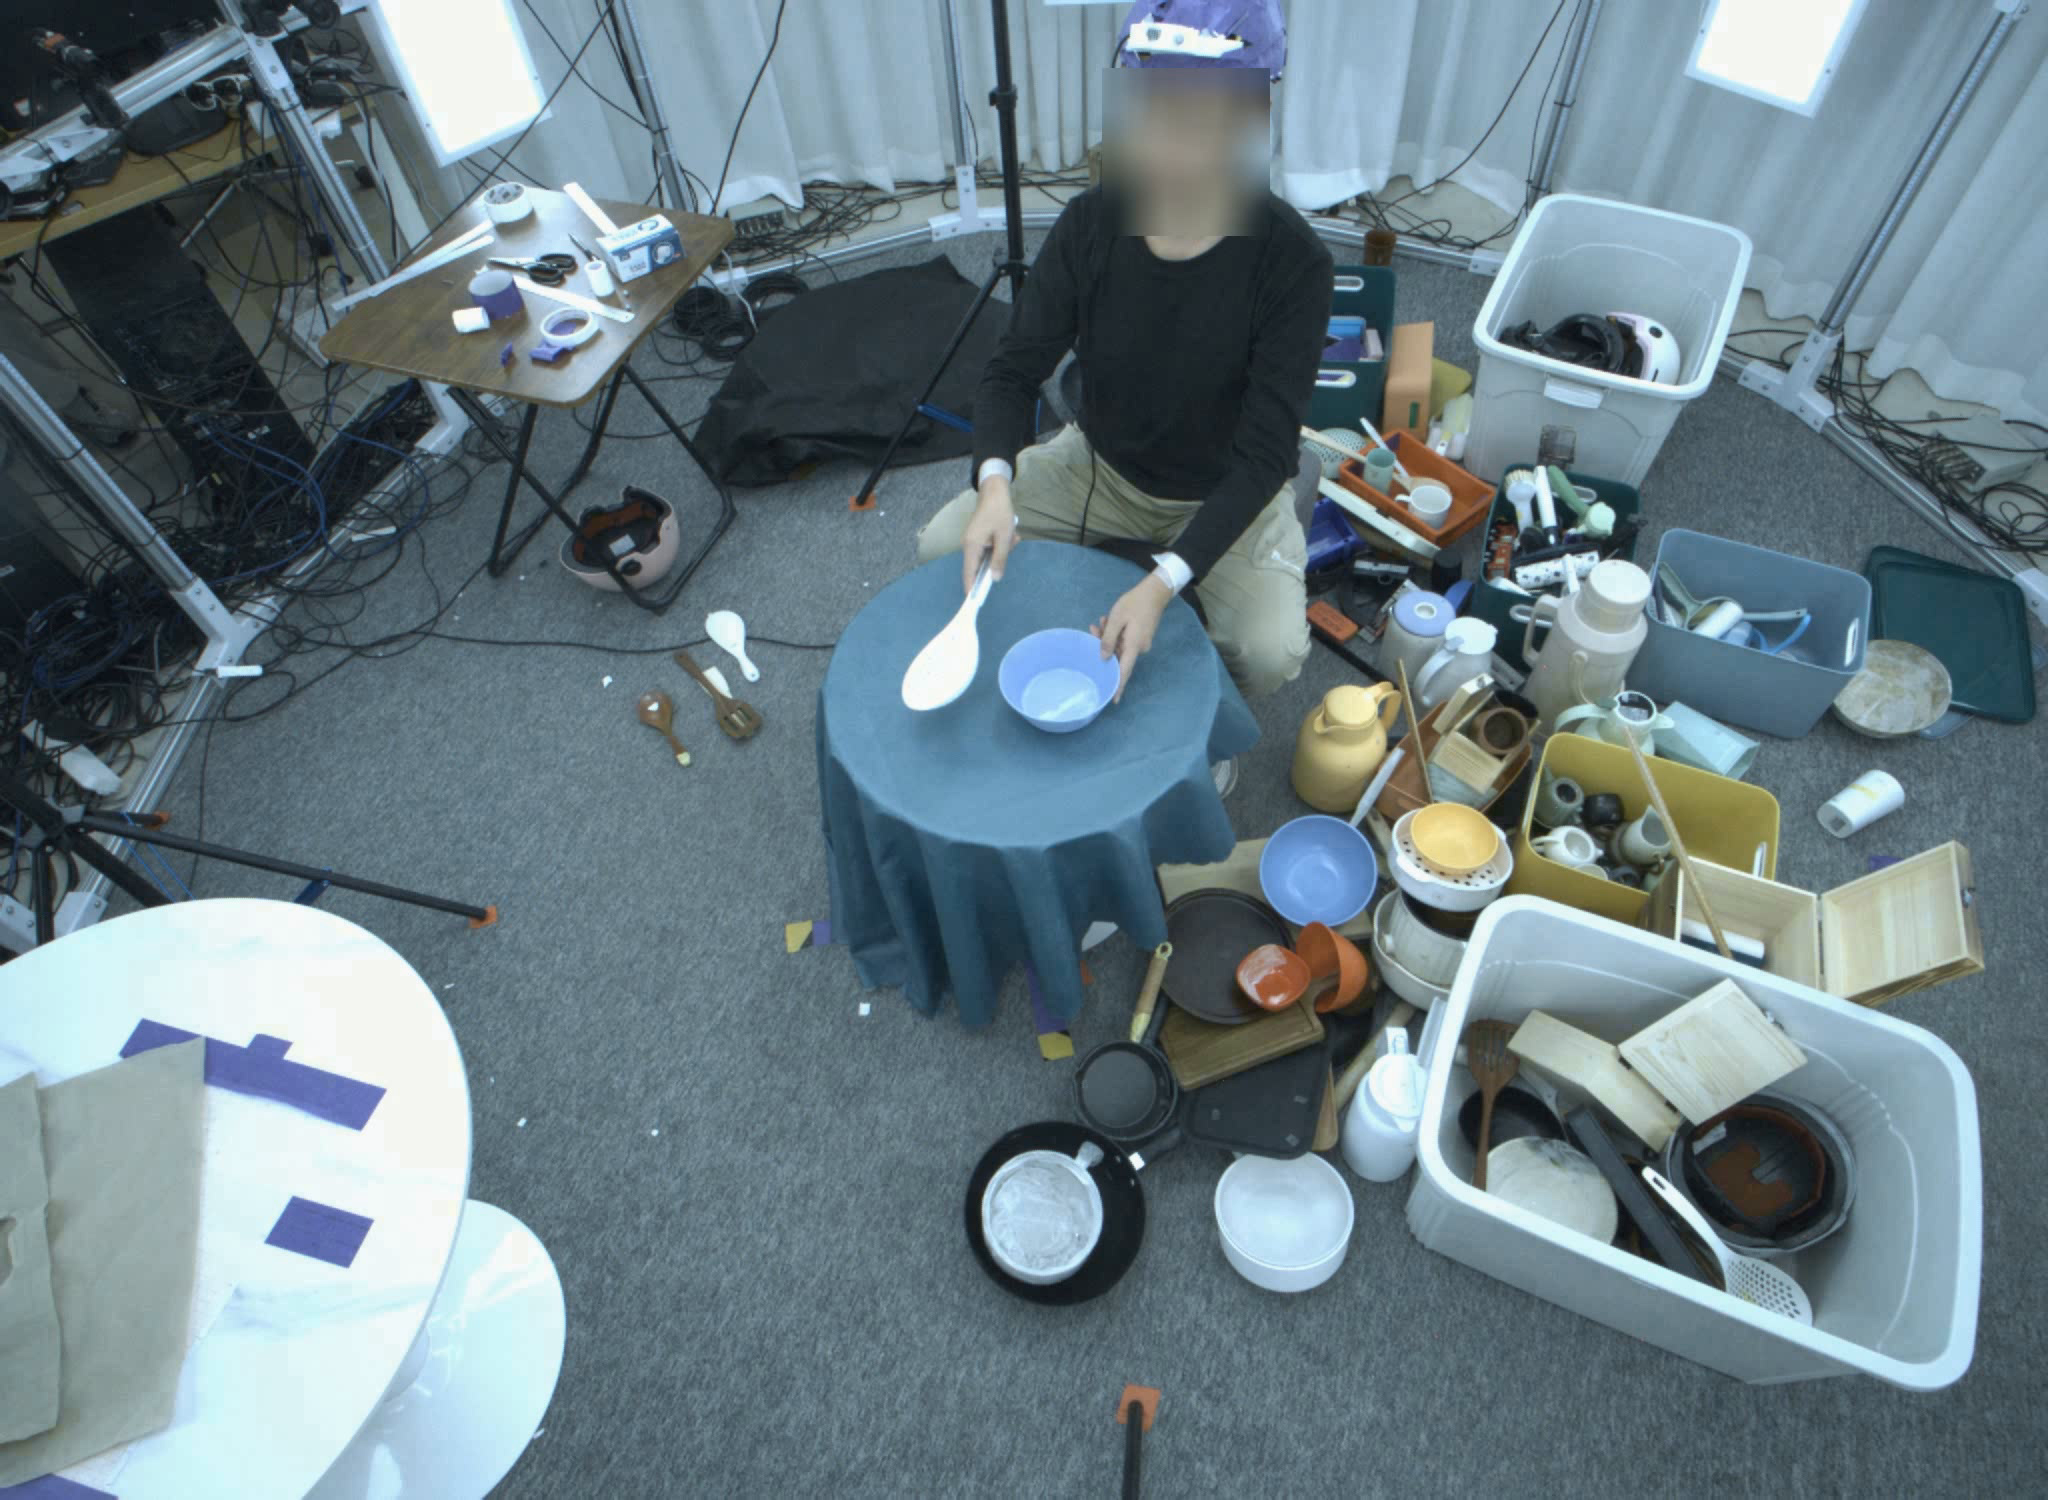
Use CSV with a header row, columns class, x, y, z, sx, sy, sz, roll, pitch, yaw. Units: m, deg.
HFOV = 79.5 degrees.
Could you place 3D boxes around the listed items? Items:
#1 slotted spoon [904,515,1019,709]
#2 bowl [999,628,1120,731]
class,x,y,z,sx,sy,sz,roll,pitch,yaw
slotted spoon,-0.078,-0.204,1.788,0.133,0.047,0.349,-2,62,42
bowl,0.053,-0.093,1.808,0.176,0.071,0.174,0,55,1
